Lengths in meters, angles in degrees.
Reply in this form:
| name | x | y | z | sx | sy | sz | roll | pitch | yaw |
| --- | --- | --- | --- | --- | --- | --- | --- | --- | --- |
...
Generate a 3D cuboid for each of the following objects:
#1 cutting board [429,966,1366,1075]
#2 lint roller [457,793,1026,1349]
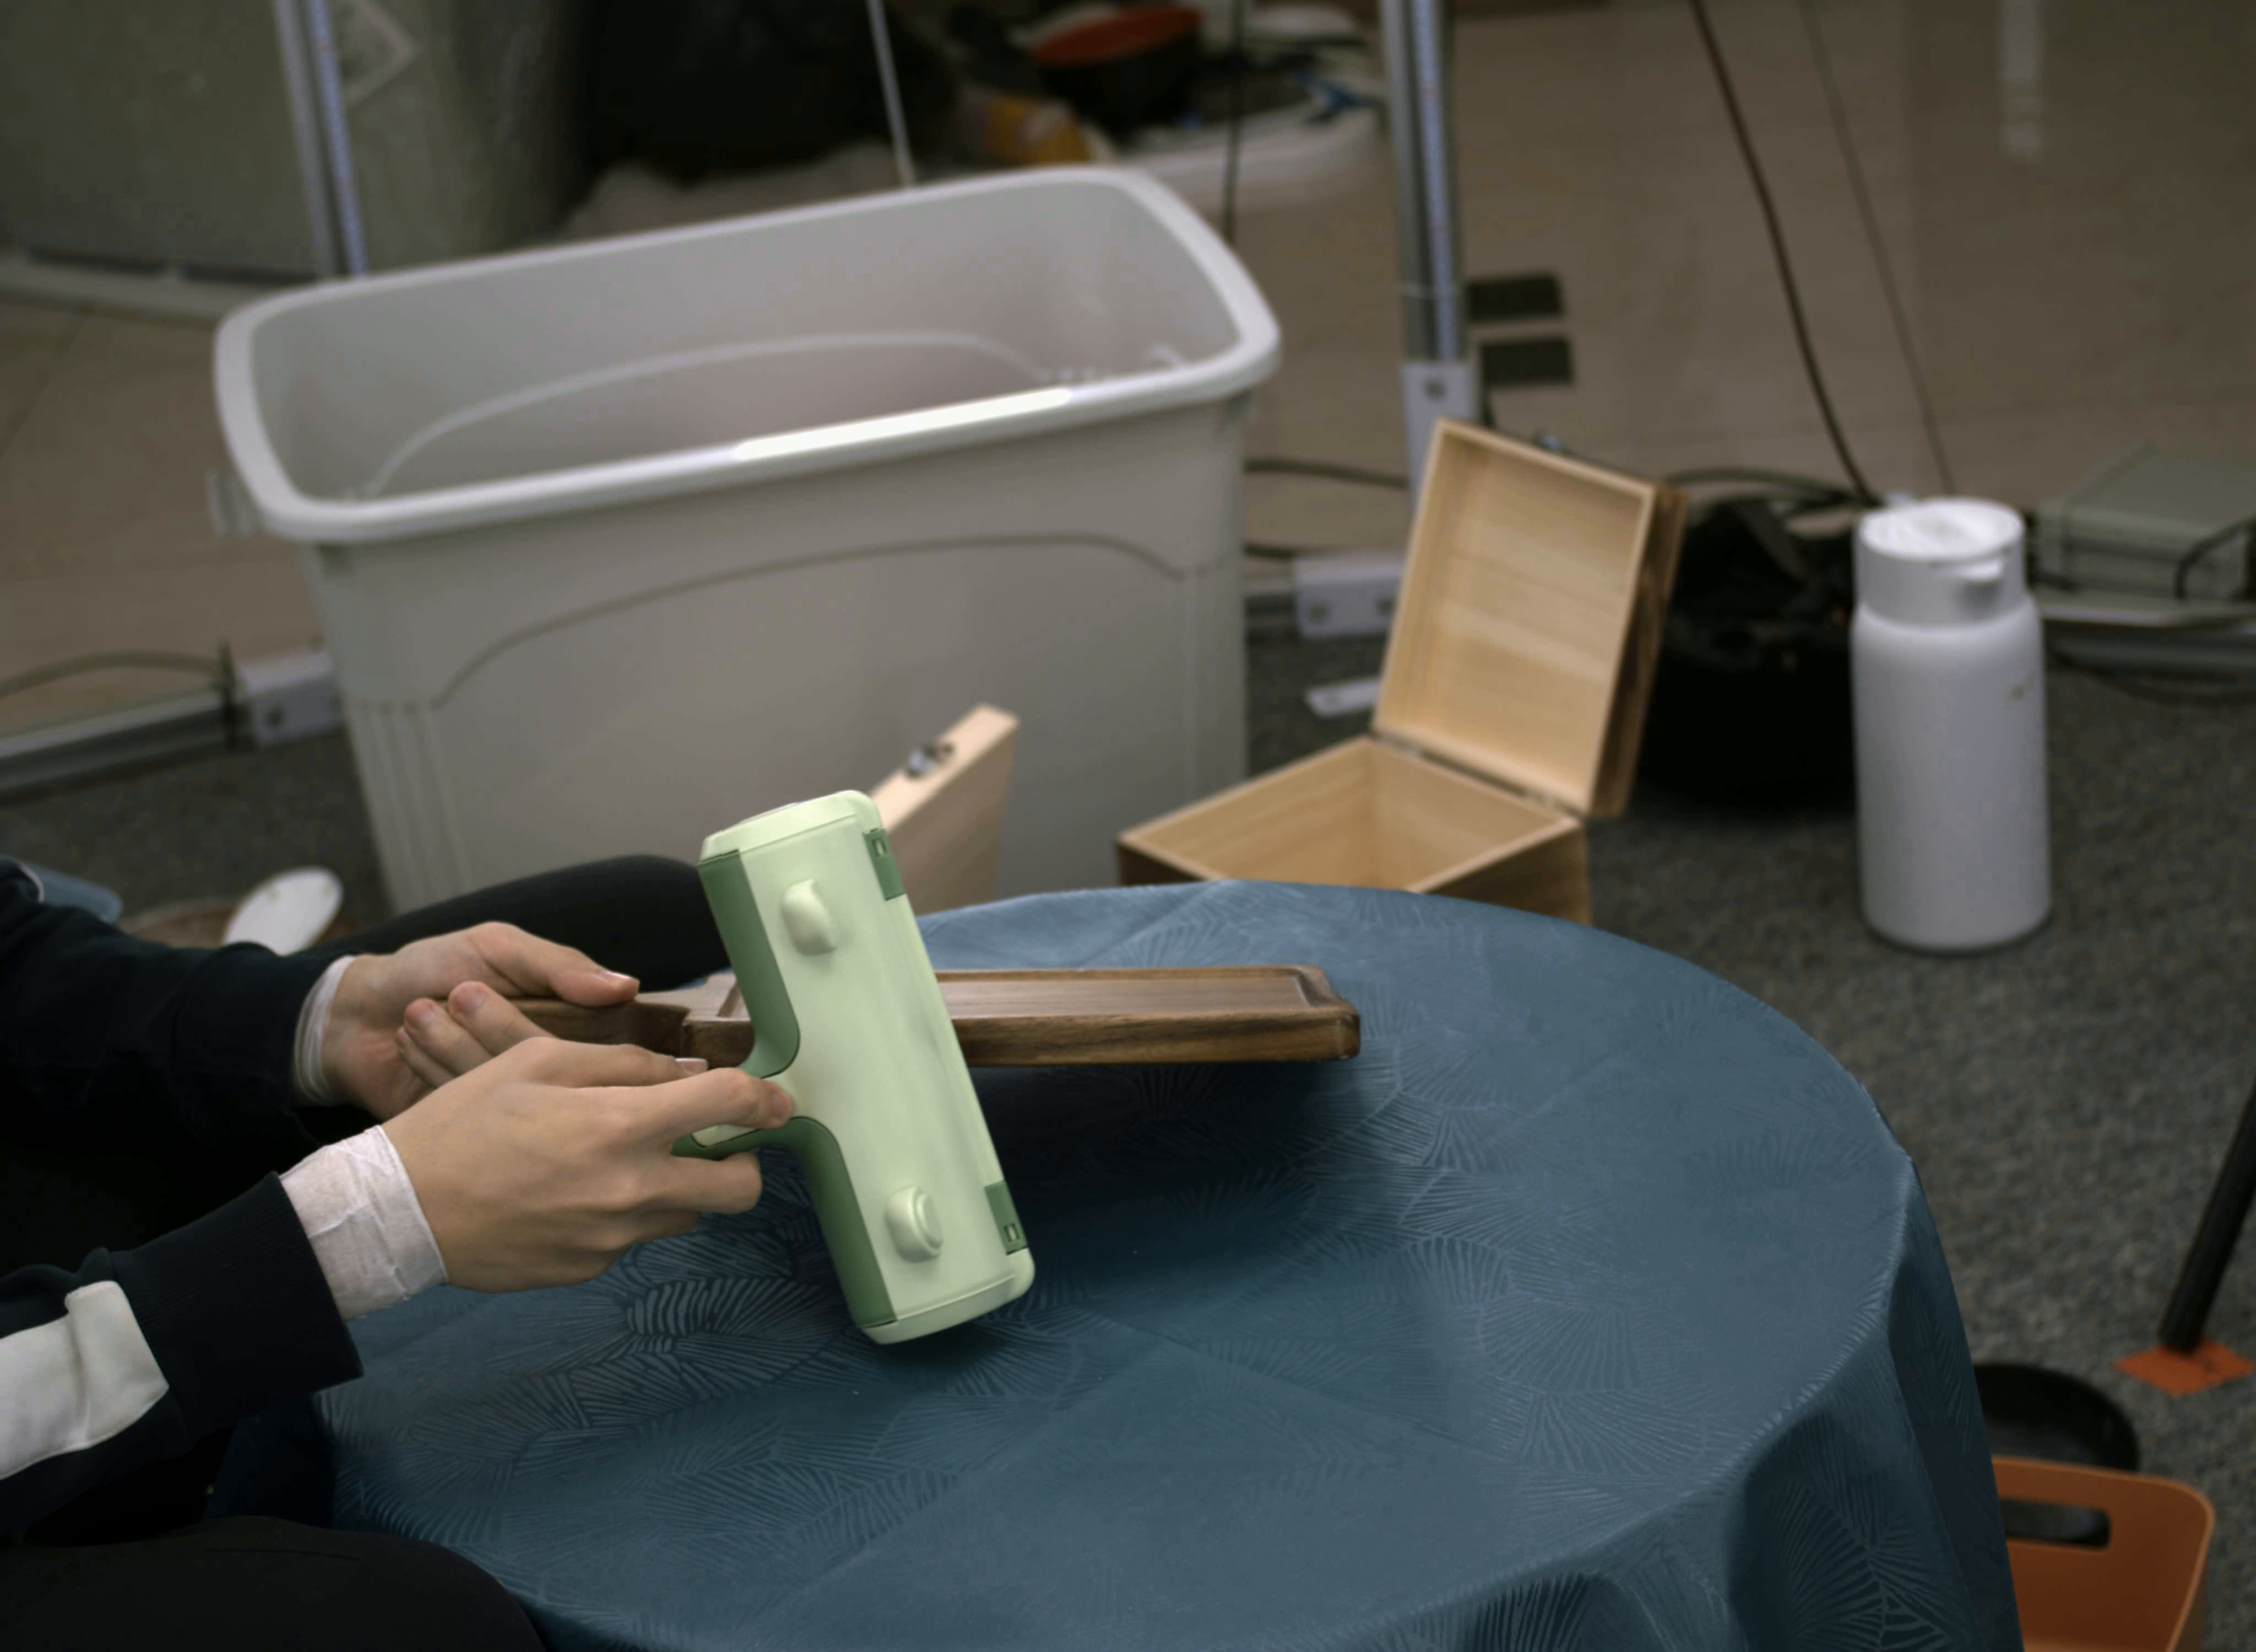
| name | x | y | z | sx | sy | sz | roll | pitch | yaw |
| --- | --- | --- | --- | --- | --- | --- | --- | --- | --- |
| cutting board | -0.091 | 0.074 | 2.167 | 0.351 | 0.023 | 0.200 | -1 | 4 | -2 |
| lint roller | -0.146 | 0.104 | 2.017 | 0.182 | 0.199 | 0.082 | -19 | 2 | -21 |
